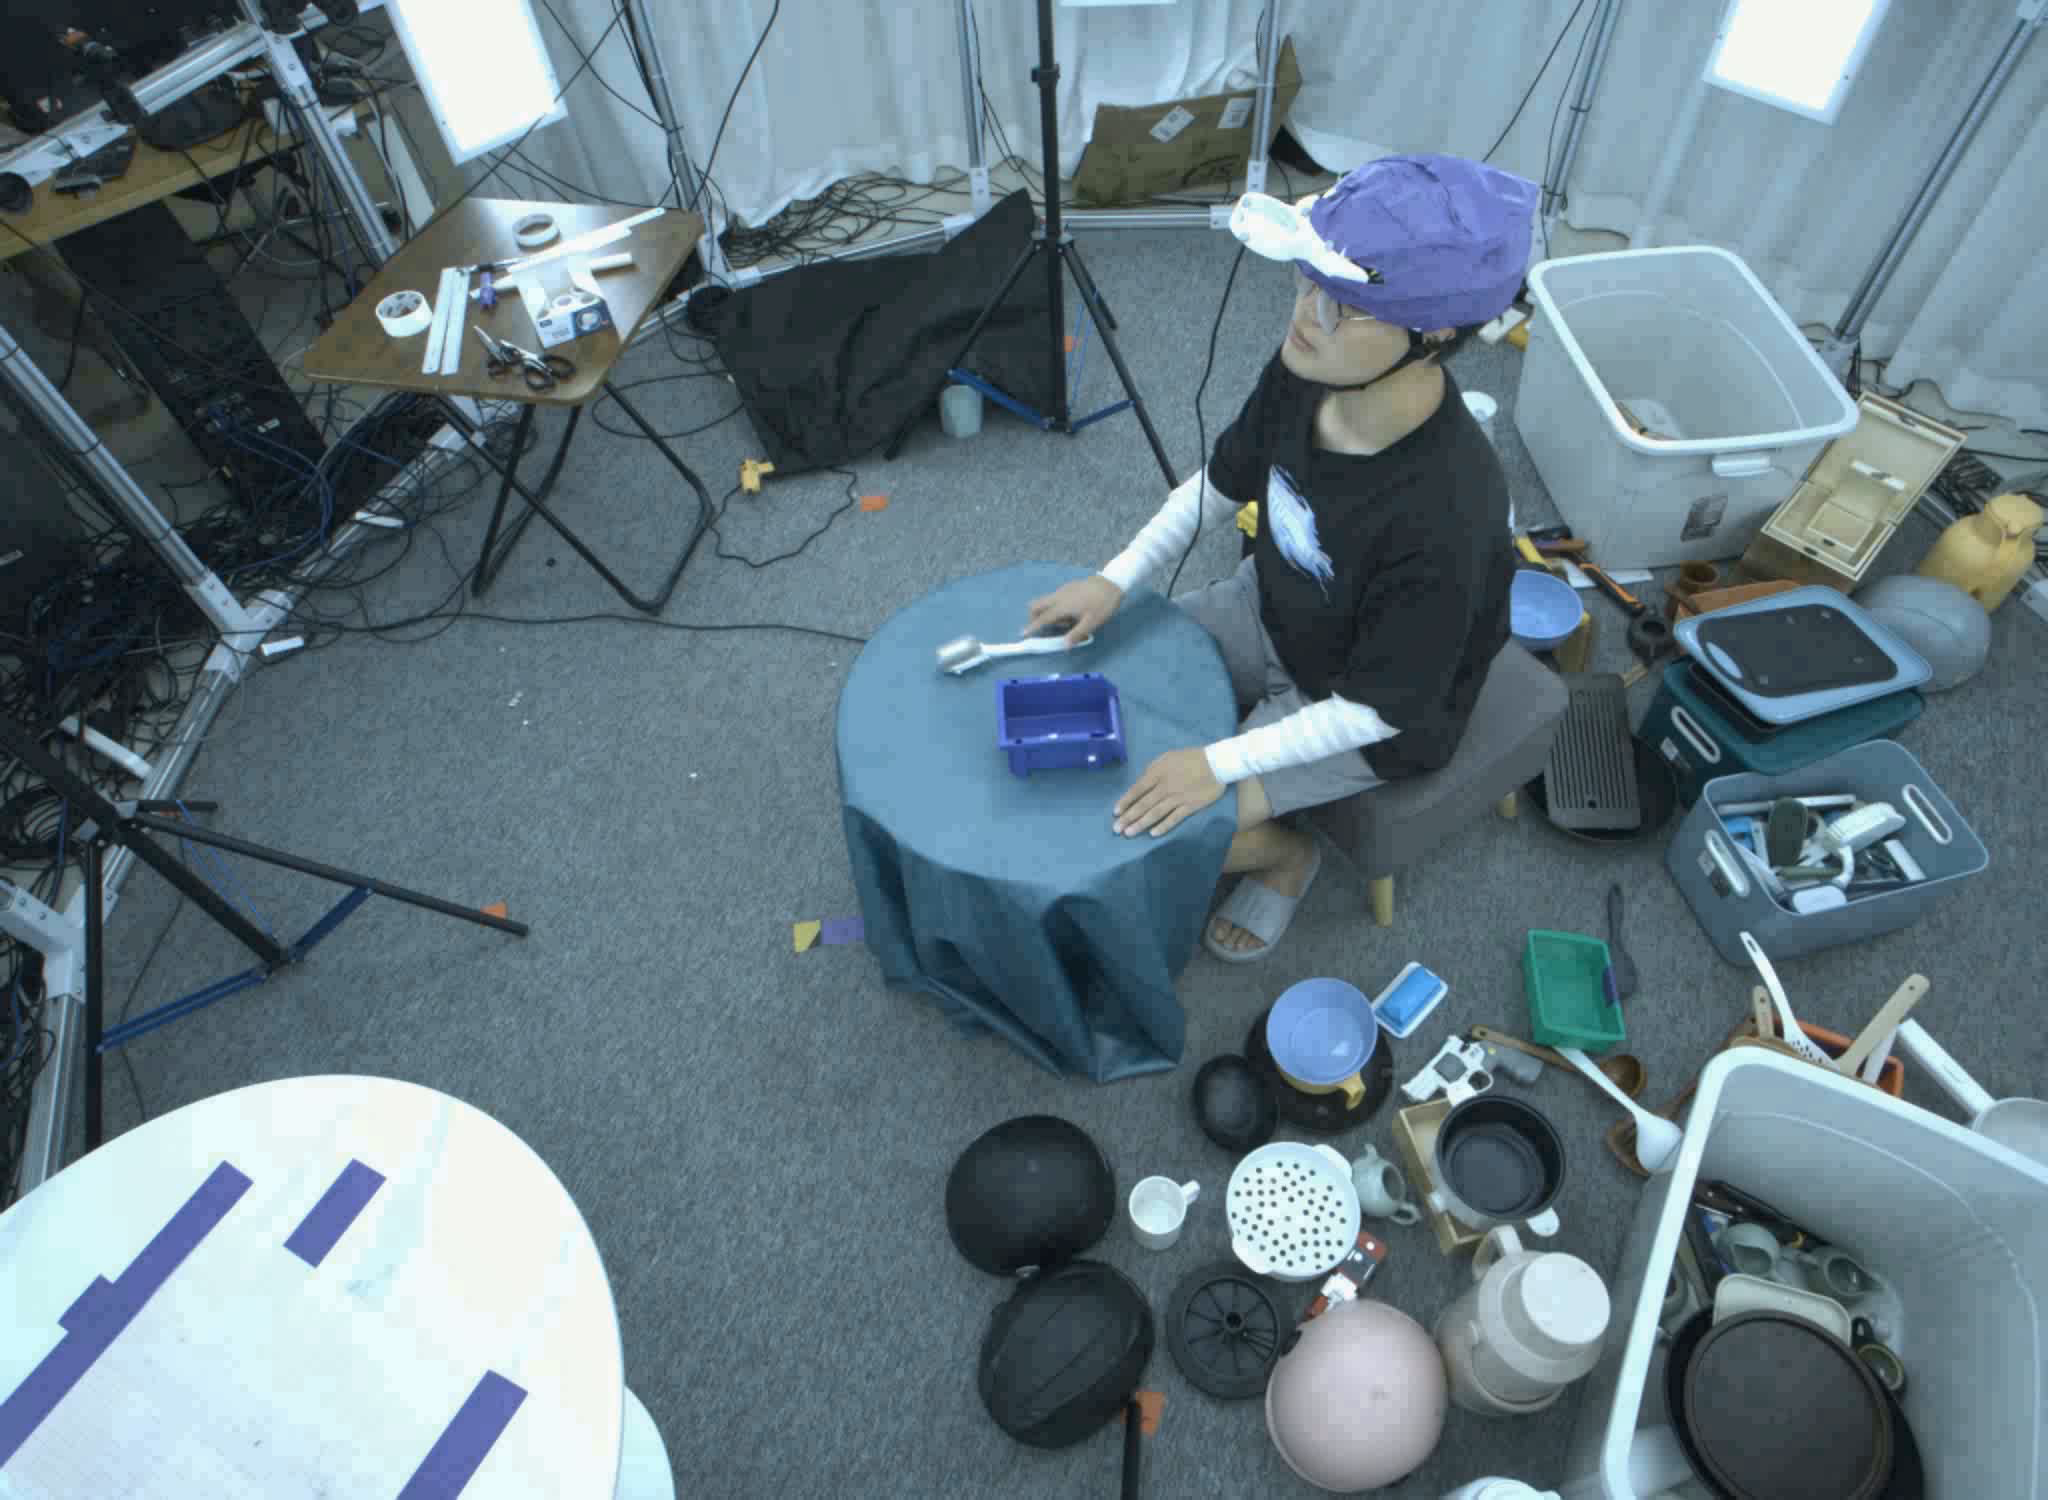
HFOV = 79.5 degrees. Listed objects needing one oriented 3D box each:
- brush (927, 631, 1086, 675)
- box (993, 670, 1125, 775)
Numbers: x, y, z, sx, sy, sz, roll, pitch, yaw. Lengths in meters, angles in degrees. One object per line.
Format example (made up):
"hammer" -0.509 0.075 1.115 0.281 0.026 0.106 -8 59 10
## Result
"brush" -0.026 -0.162 1.864 0.244 0.051 0.034 -12 54 -6
"box" 0.050 -0.041 1.756 0.179 0.083 0.123 -5 54 1
